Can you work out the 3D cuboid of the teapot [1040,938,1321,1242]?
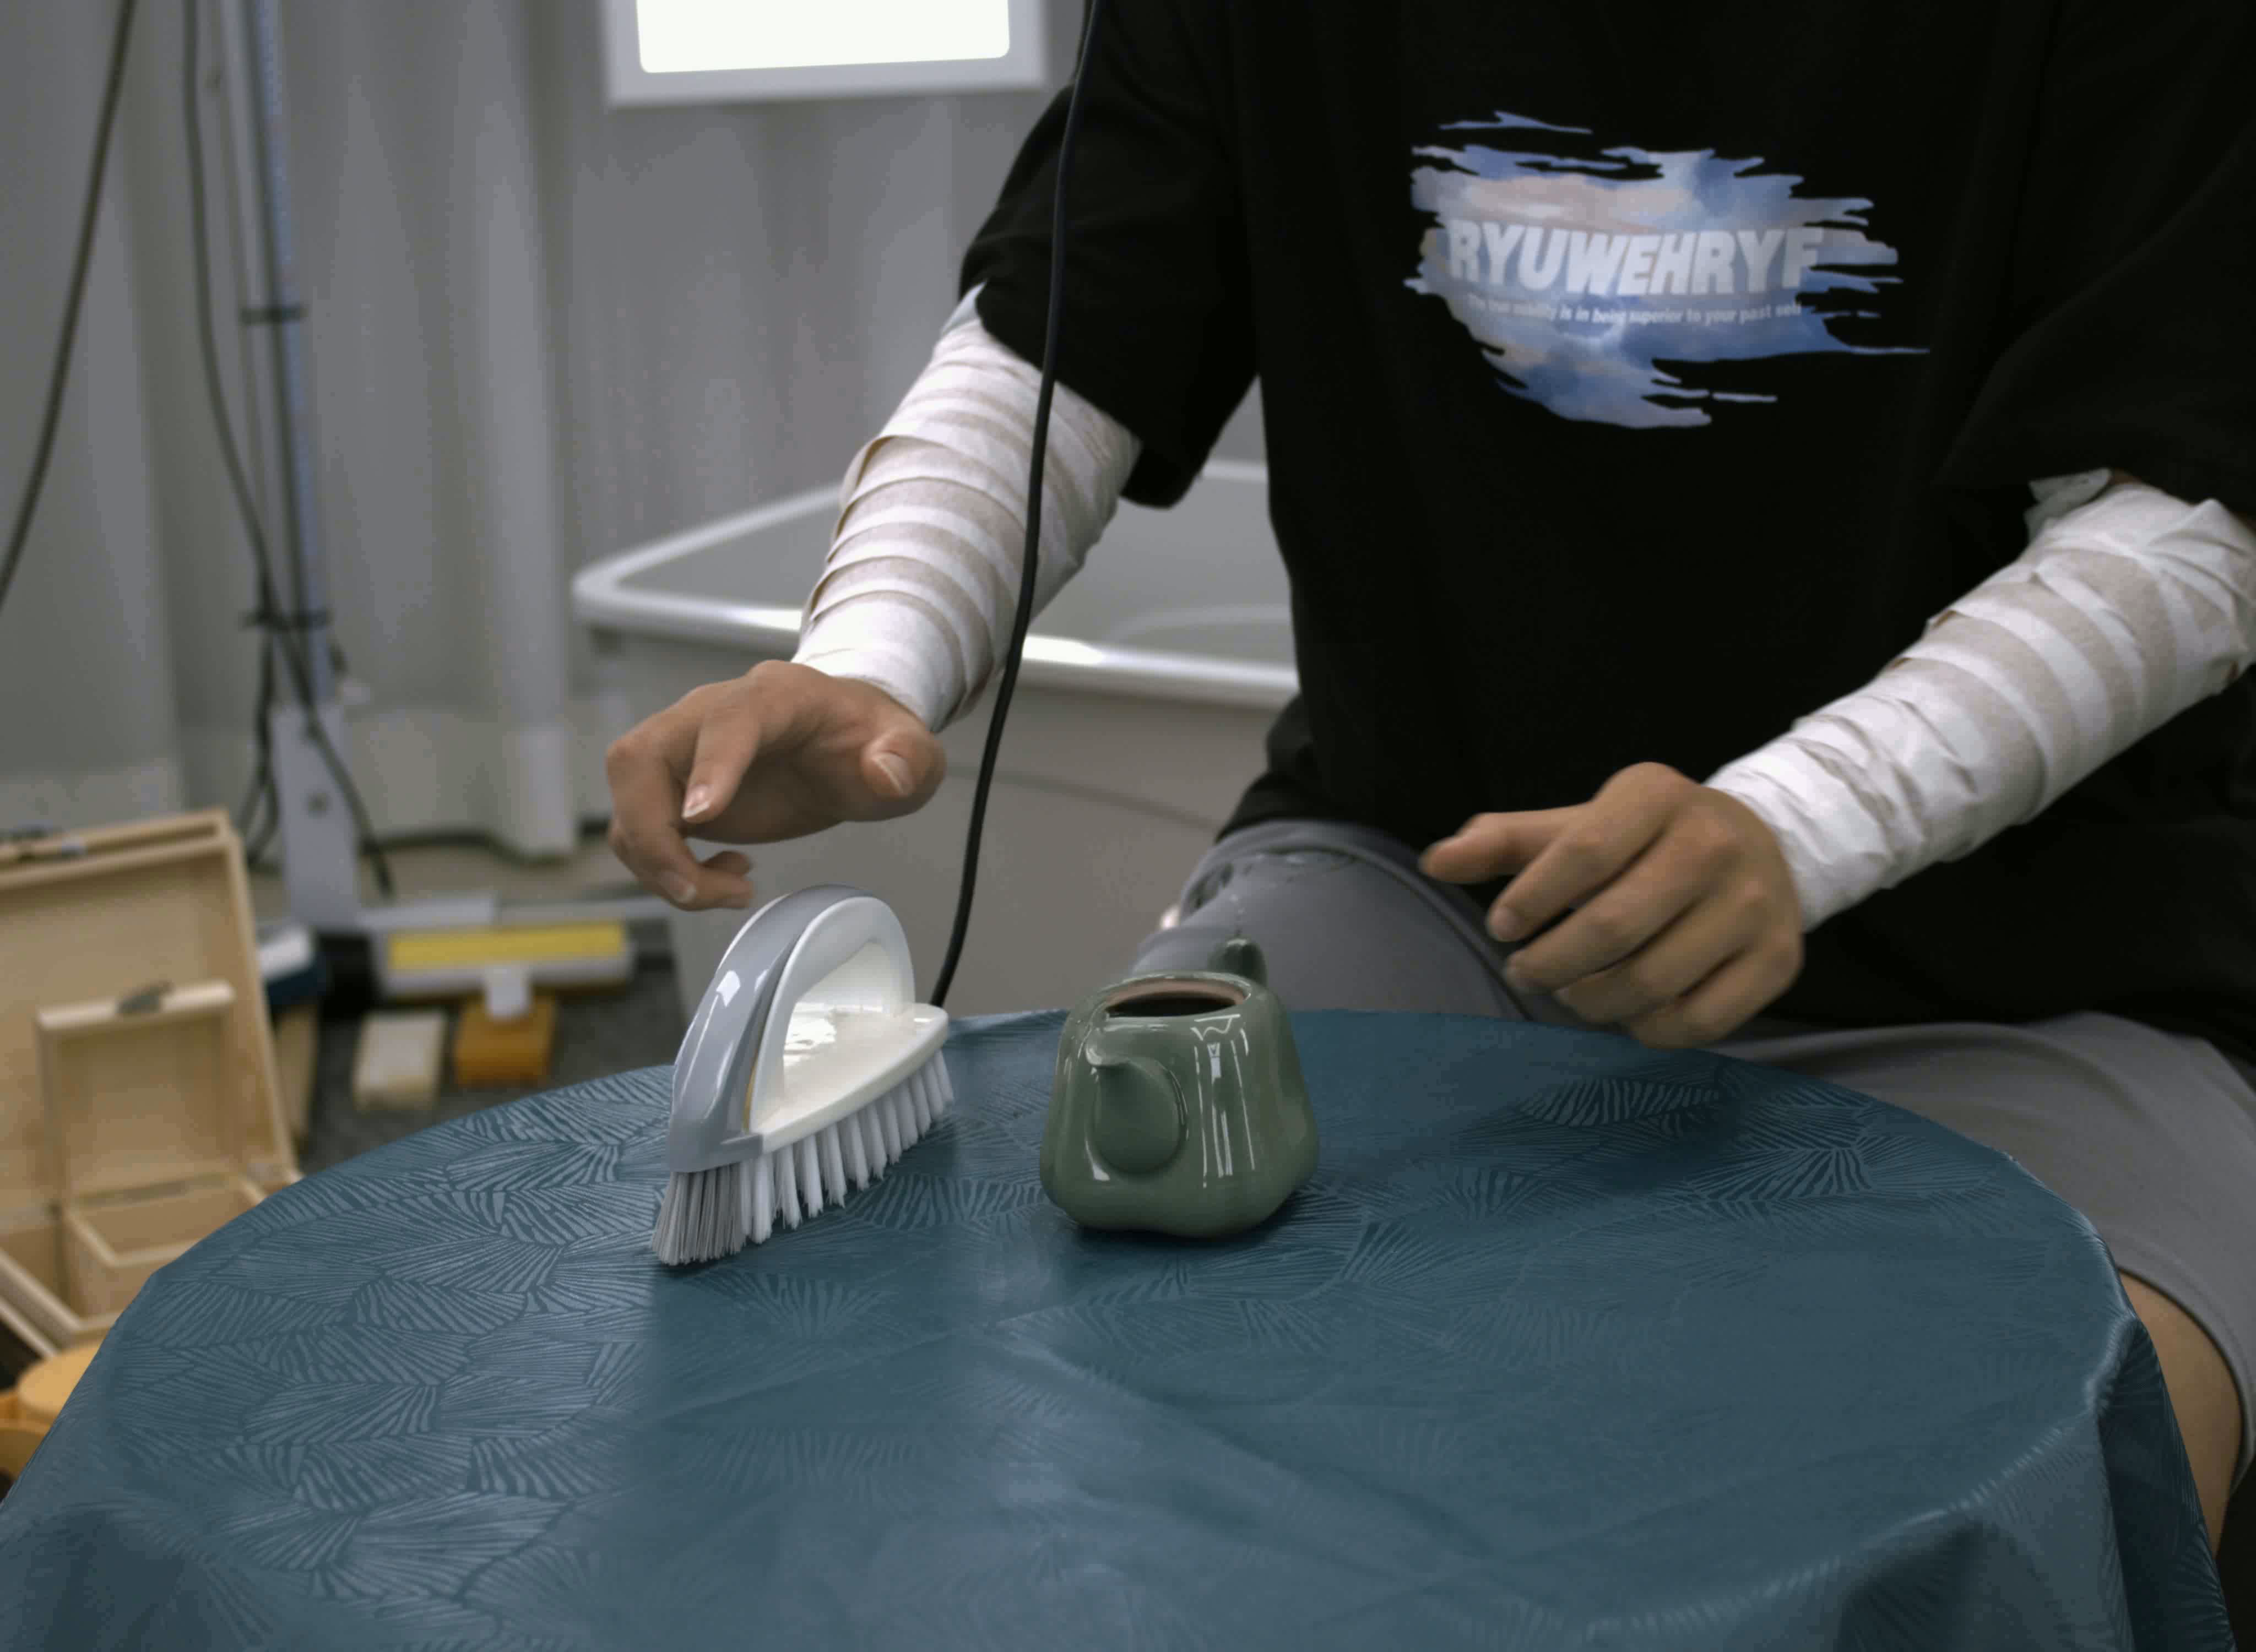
[{"bbox_3d":[0.016,0.084,1.686,0.080,0.075,0.133,4,15,23],"label":"teapot"}]

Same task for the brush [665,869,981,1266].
[{"bbox_3d":[-0.105,0.070,1.722,0.061,0.094,0.176,-2,16,23],"label":"brush"}]
